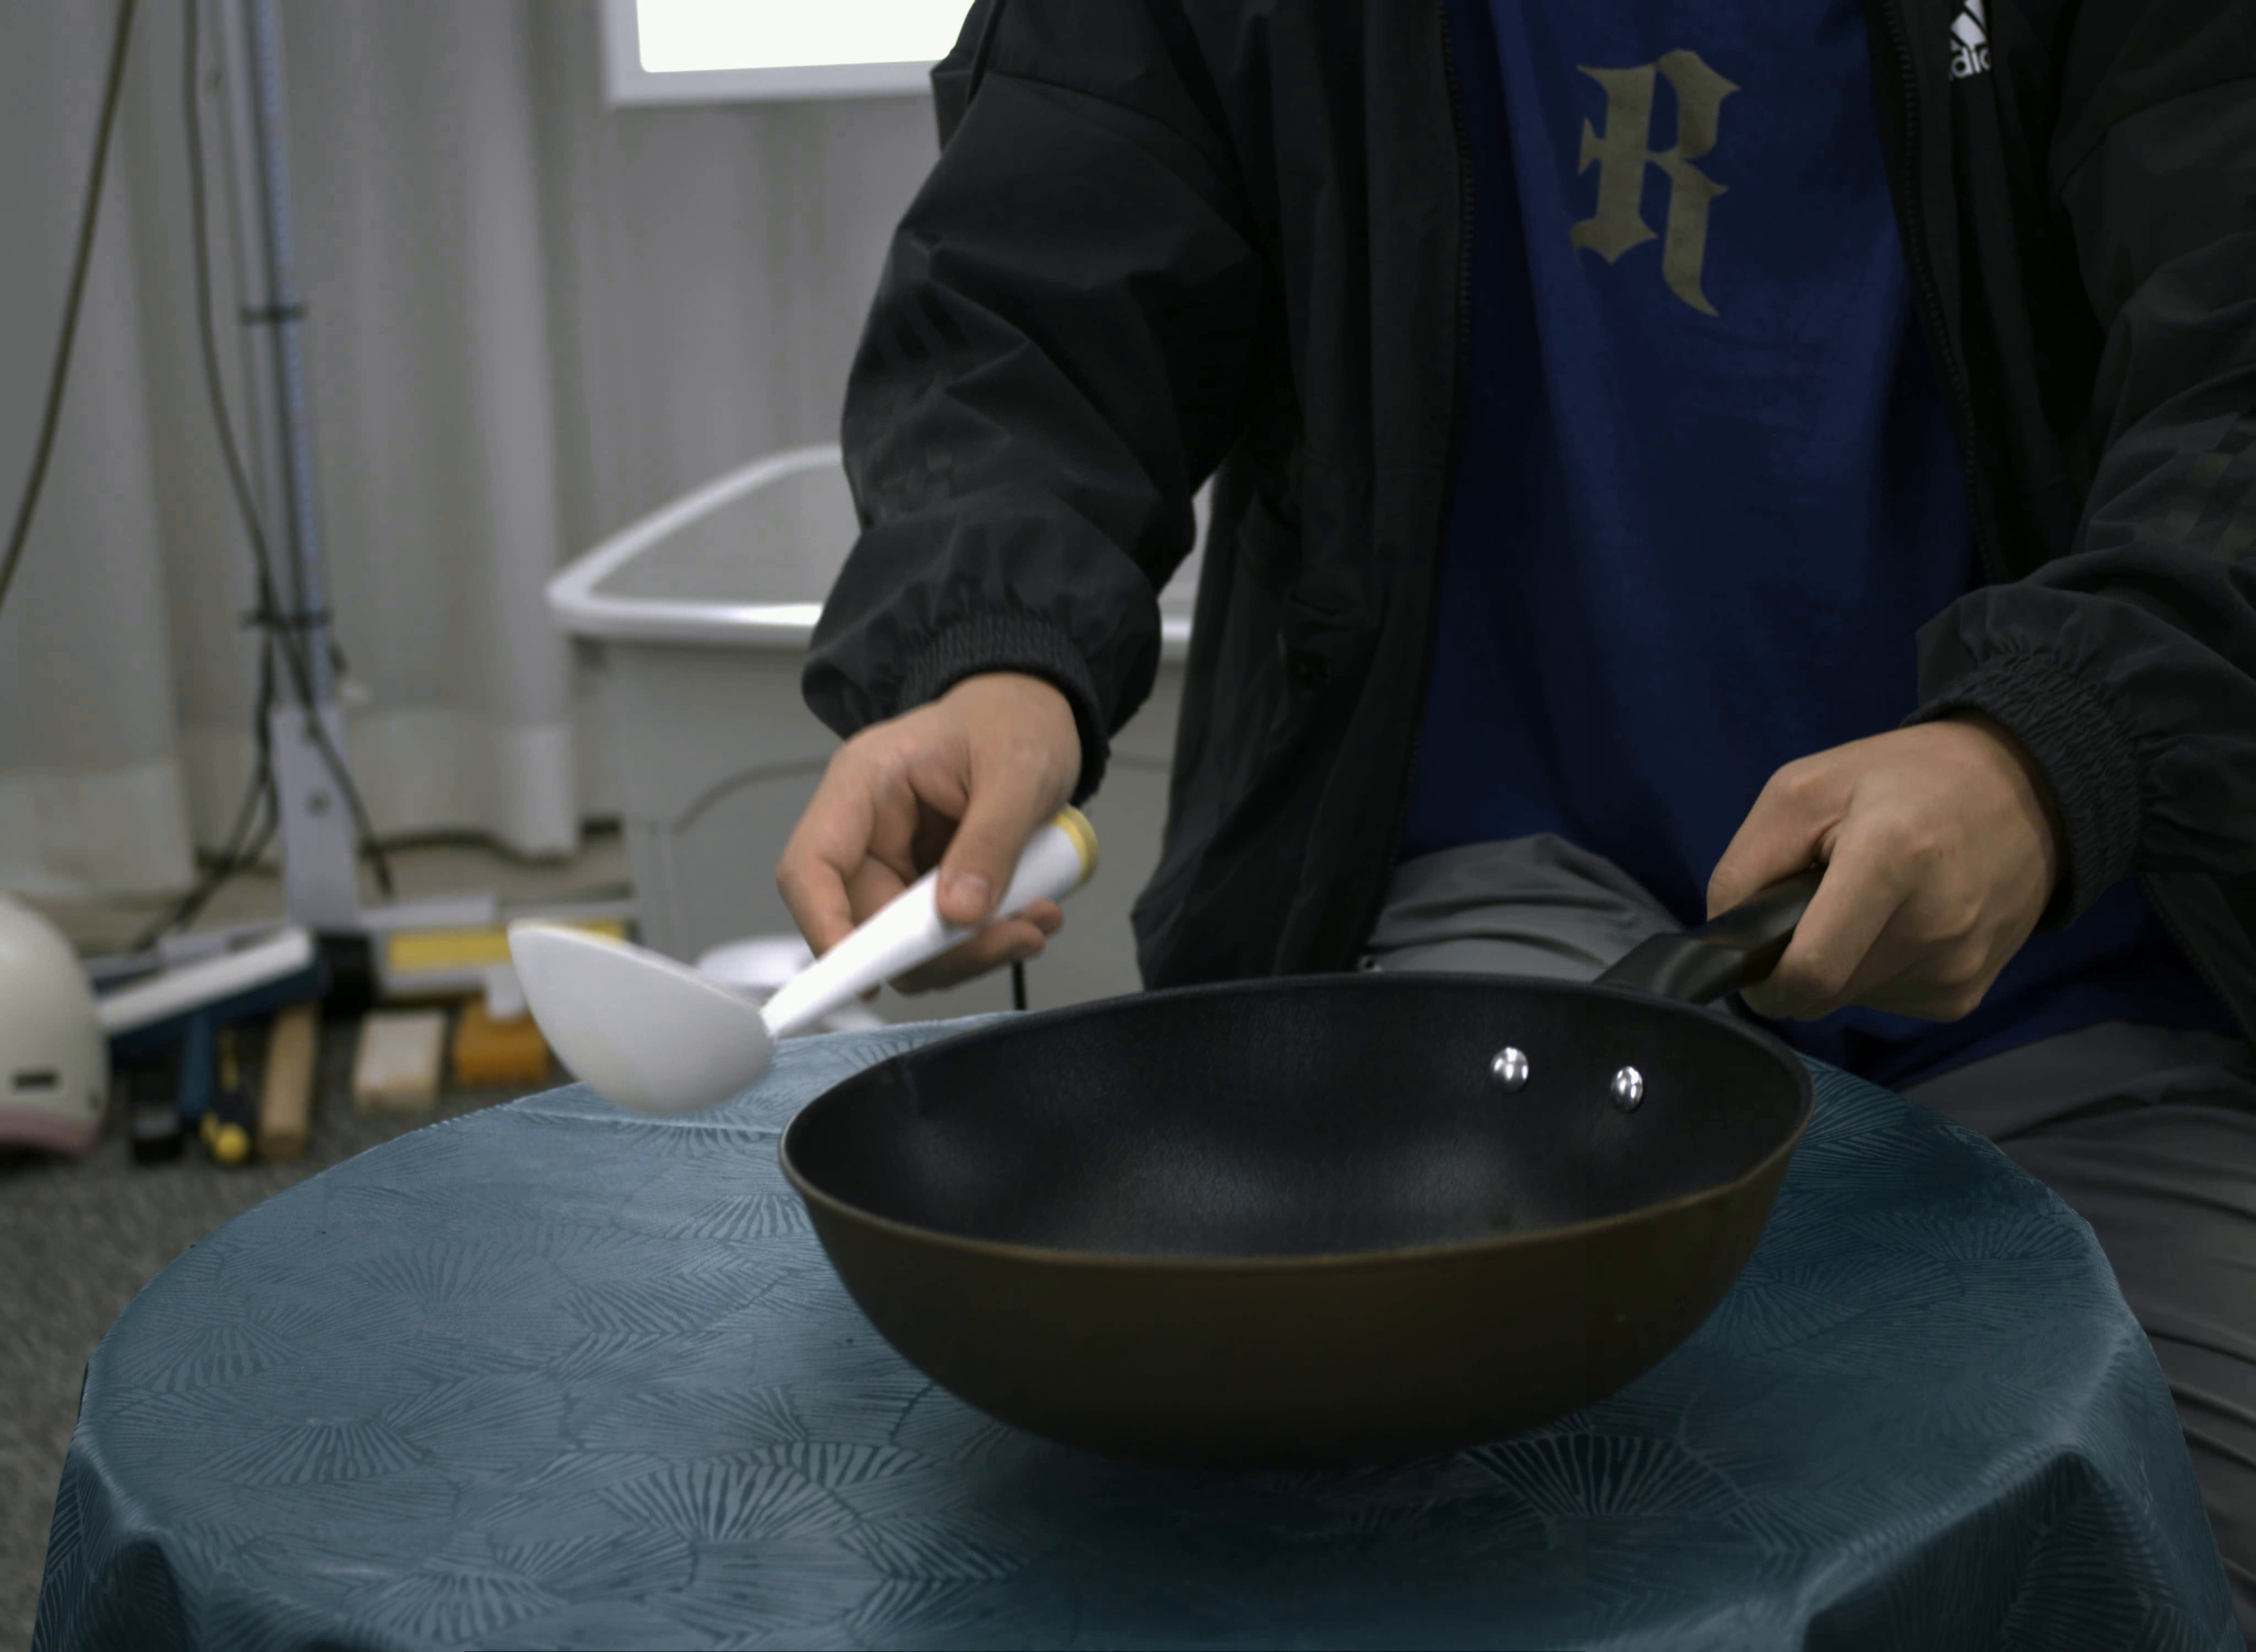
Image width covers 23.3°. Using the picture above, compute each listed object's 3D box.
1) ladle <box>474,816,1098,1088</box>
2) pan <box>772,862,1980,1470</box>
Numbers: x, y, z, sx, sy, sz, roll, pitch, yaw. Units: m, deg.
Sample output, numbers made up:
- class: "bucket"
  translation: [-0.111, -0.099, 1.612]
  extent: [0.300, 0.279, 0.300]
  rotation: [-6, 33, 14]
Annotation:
- class: "ladle"
  translation: [-0.092, 0.023, 1.679]
  extent: [0.090, 0.070, 0.293]
  rotation: [9, 16, 28]
- class: "pan"
  translation: [0.104, 0.092, 1.546]
  extent: [0.289, 0.086, 0.462]
  rotation: [7, 16, 39]
